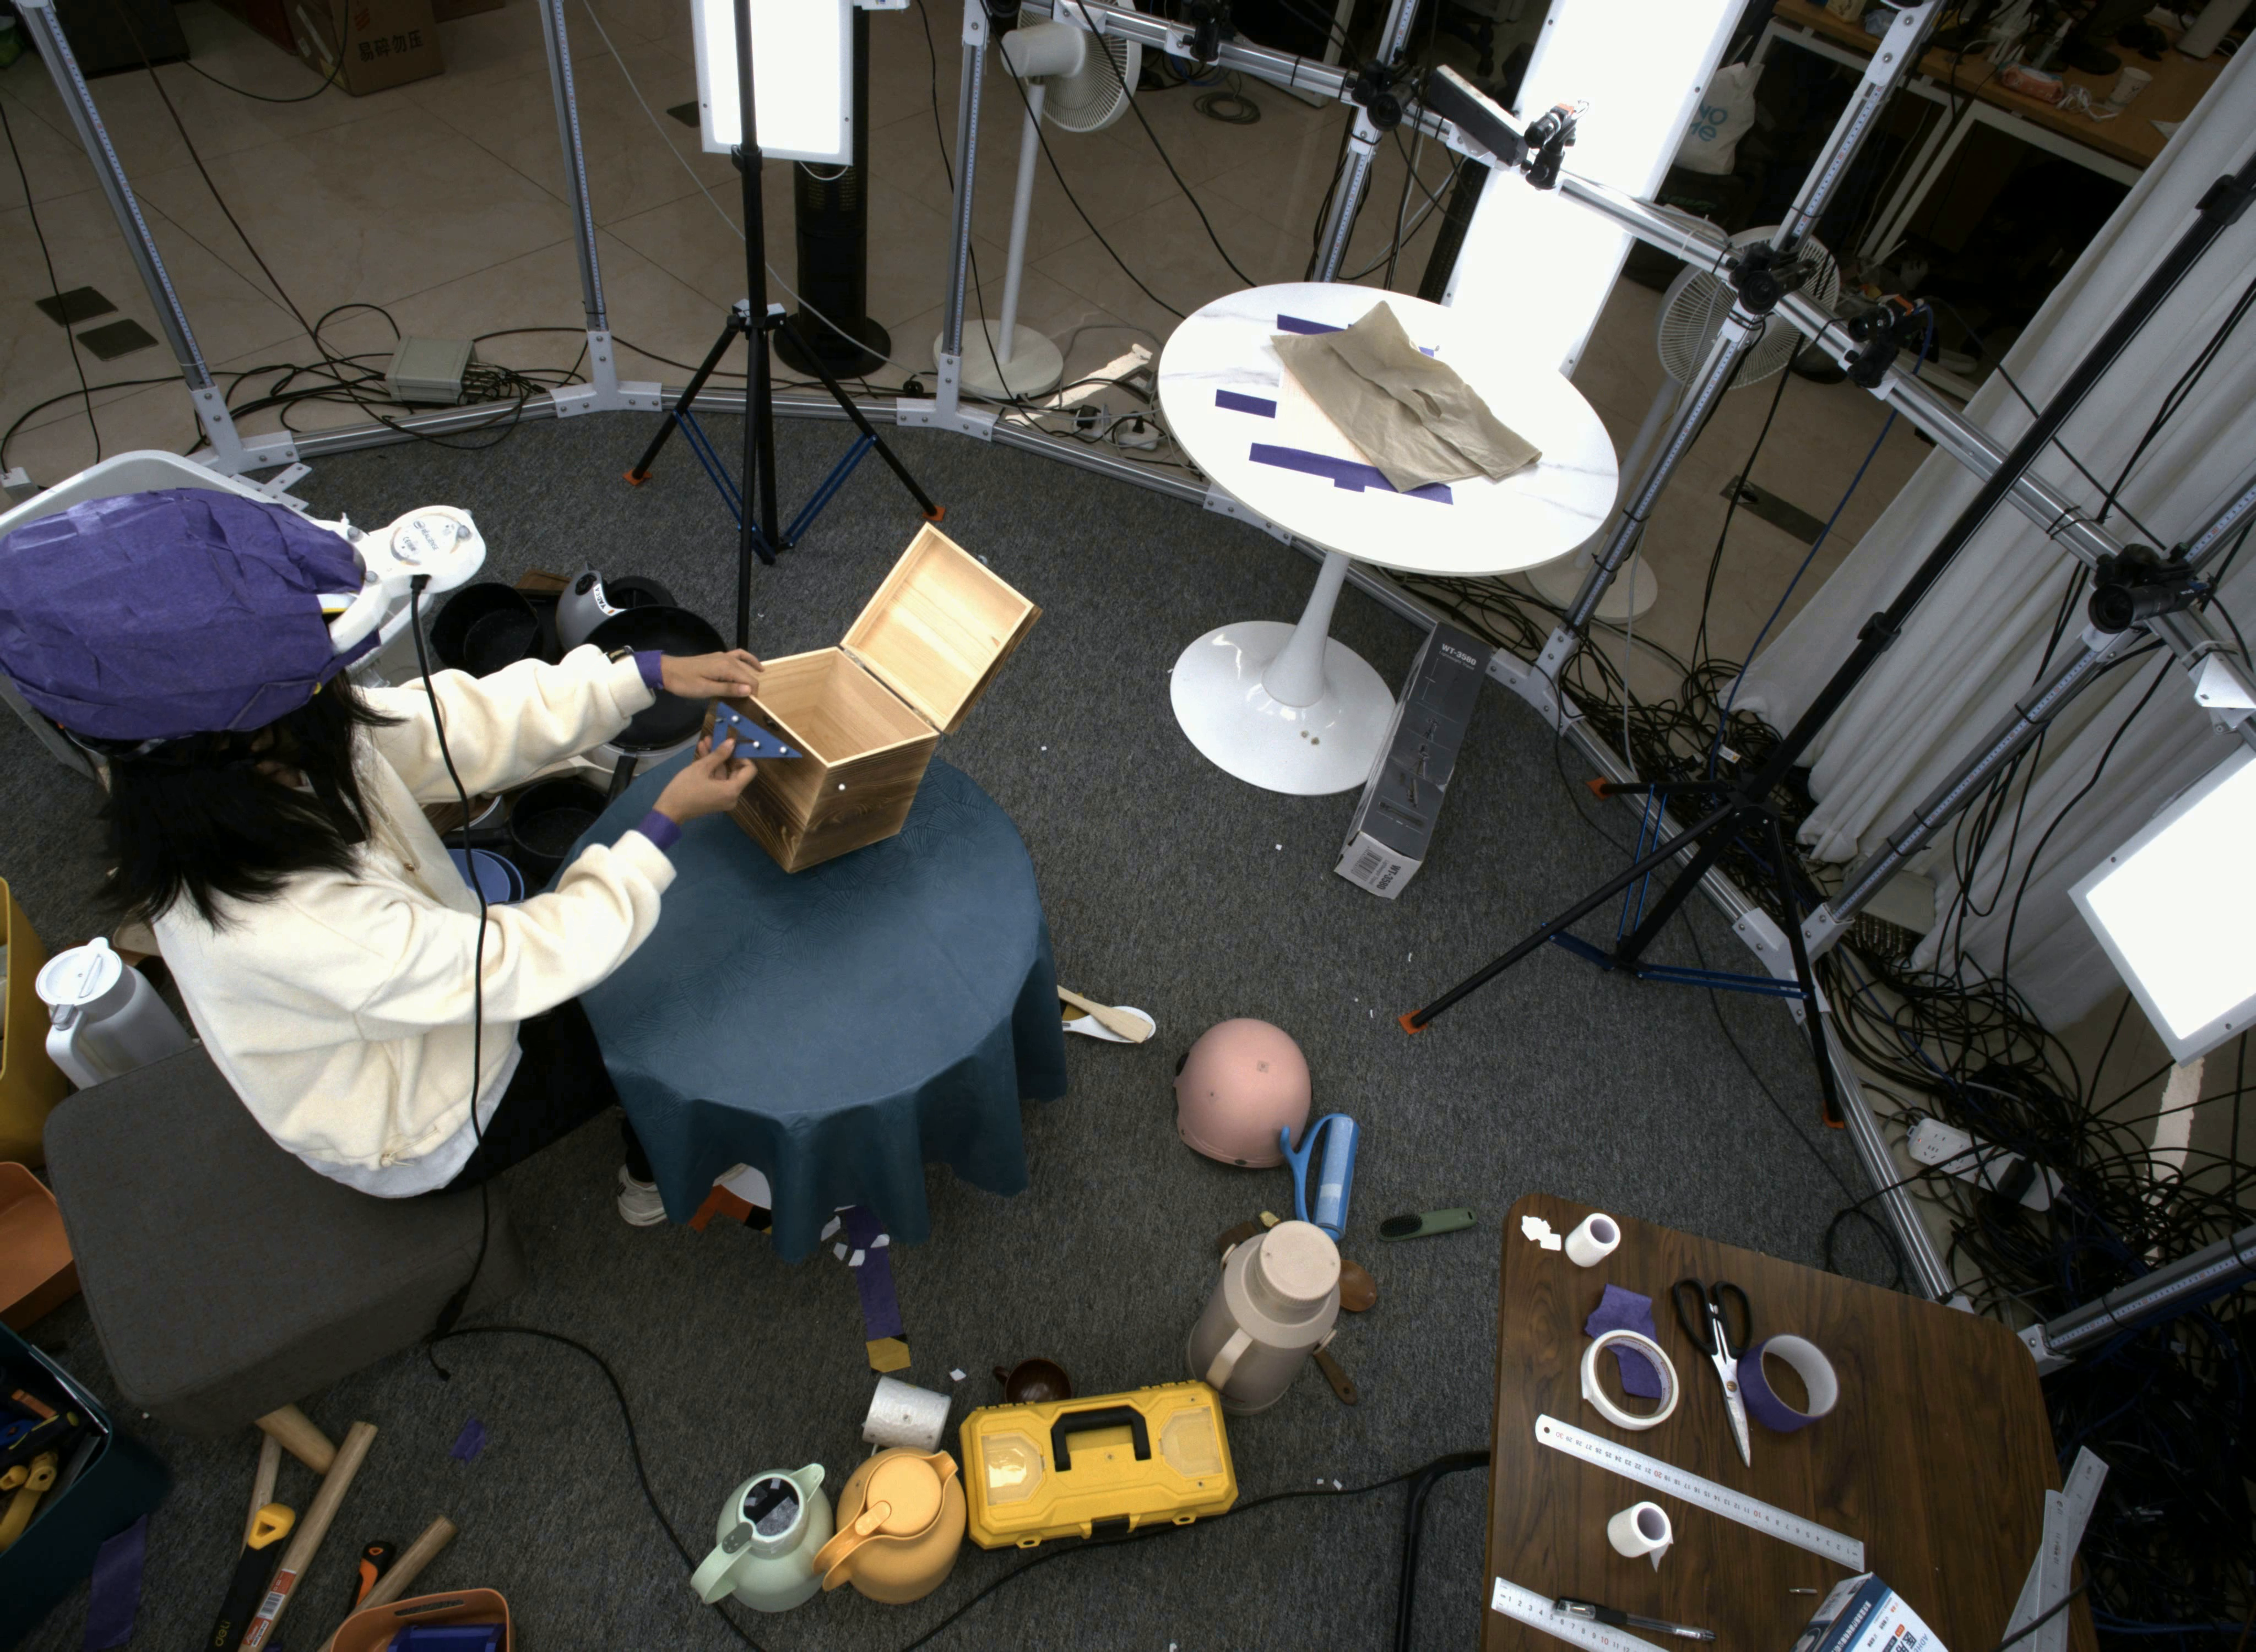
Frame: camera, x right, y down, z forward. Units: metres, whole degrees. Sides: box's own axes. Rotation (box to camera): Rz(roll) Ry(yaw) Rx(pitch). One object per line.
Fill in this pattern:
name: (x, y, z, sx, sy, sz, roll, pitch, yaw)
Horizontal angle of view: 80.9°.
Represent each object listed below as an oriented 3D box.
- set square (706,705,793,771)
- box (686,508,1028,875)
set square: (-0.446, -0.085, 1.491, 0.129, 0.007, 0.061, 35, 87, 15)
box: (-0.342, -0.180, 1.639, 0.204, 0.381, 0.325, 38, 31, 18)
